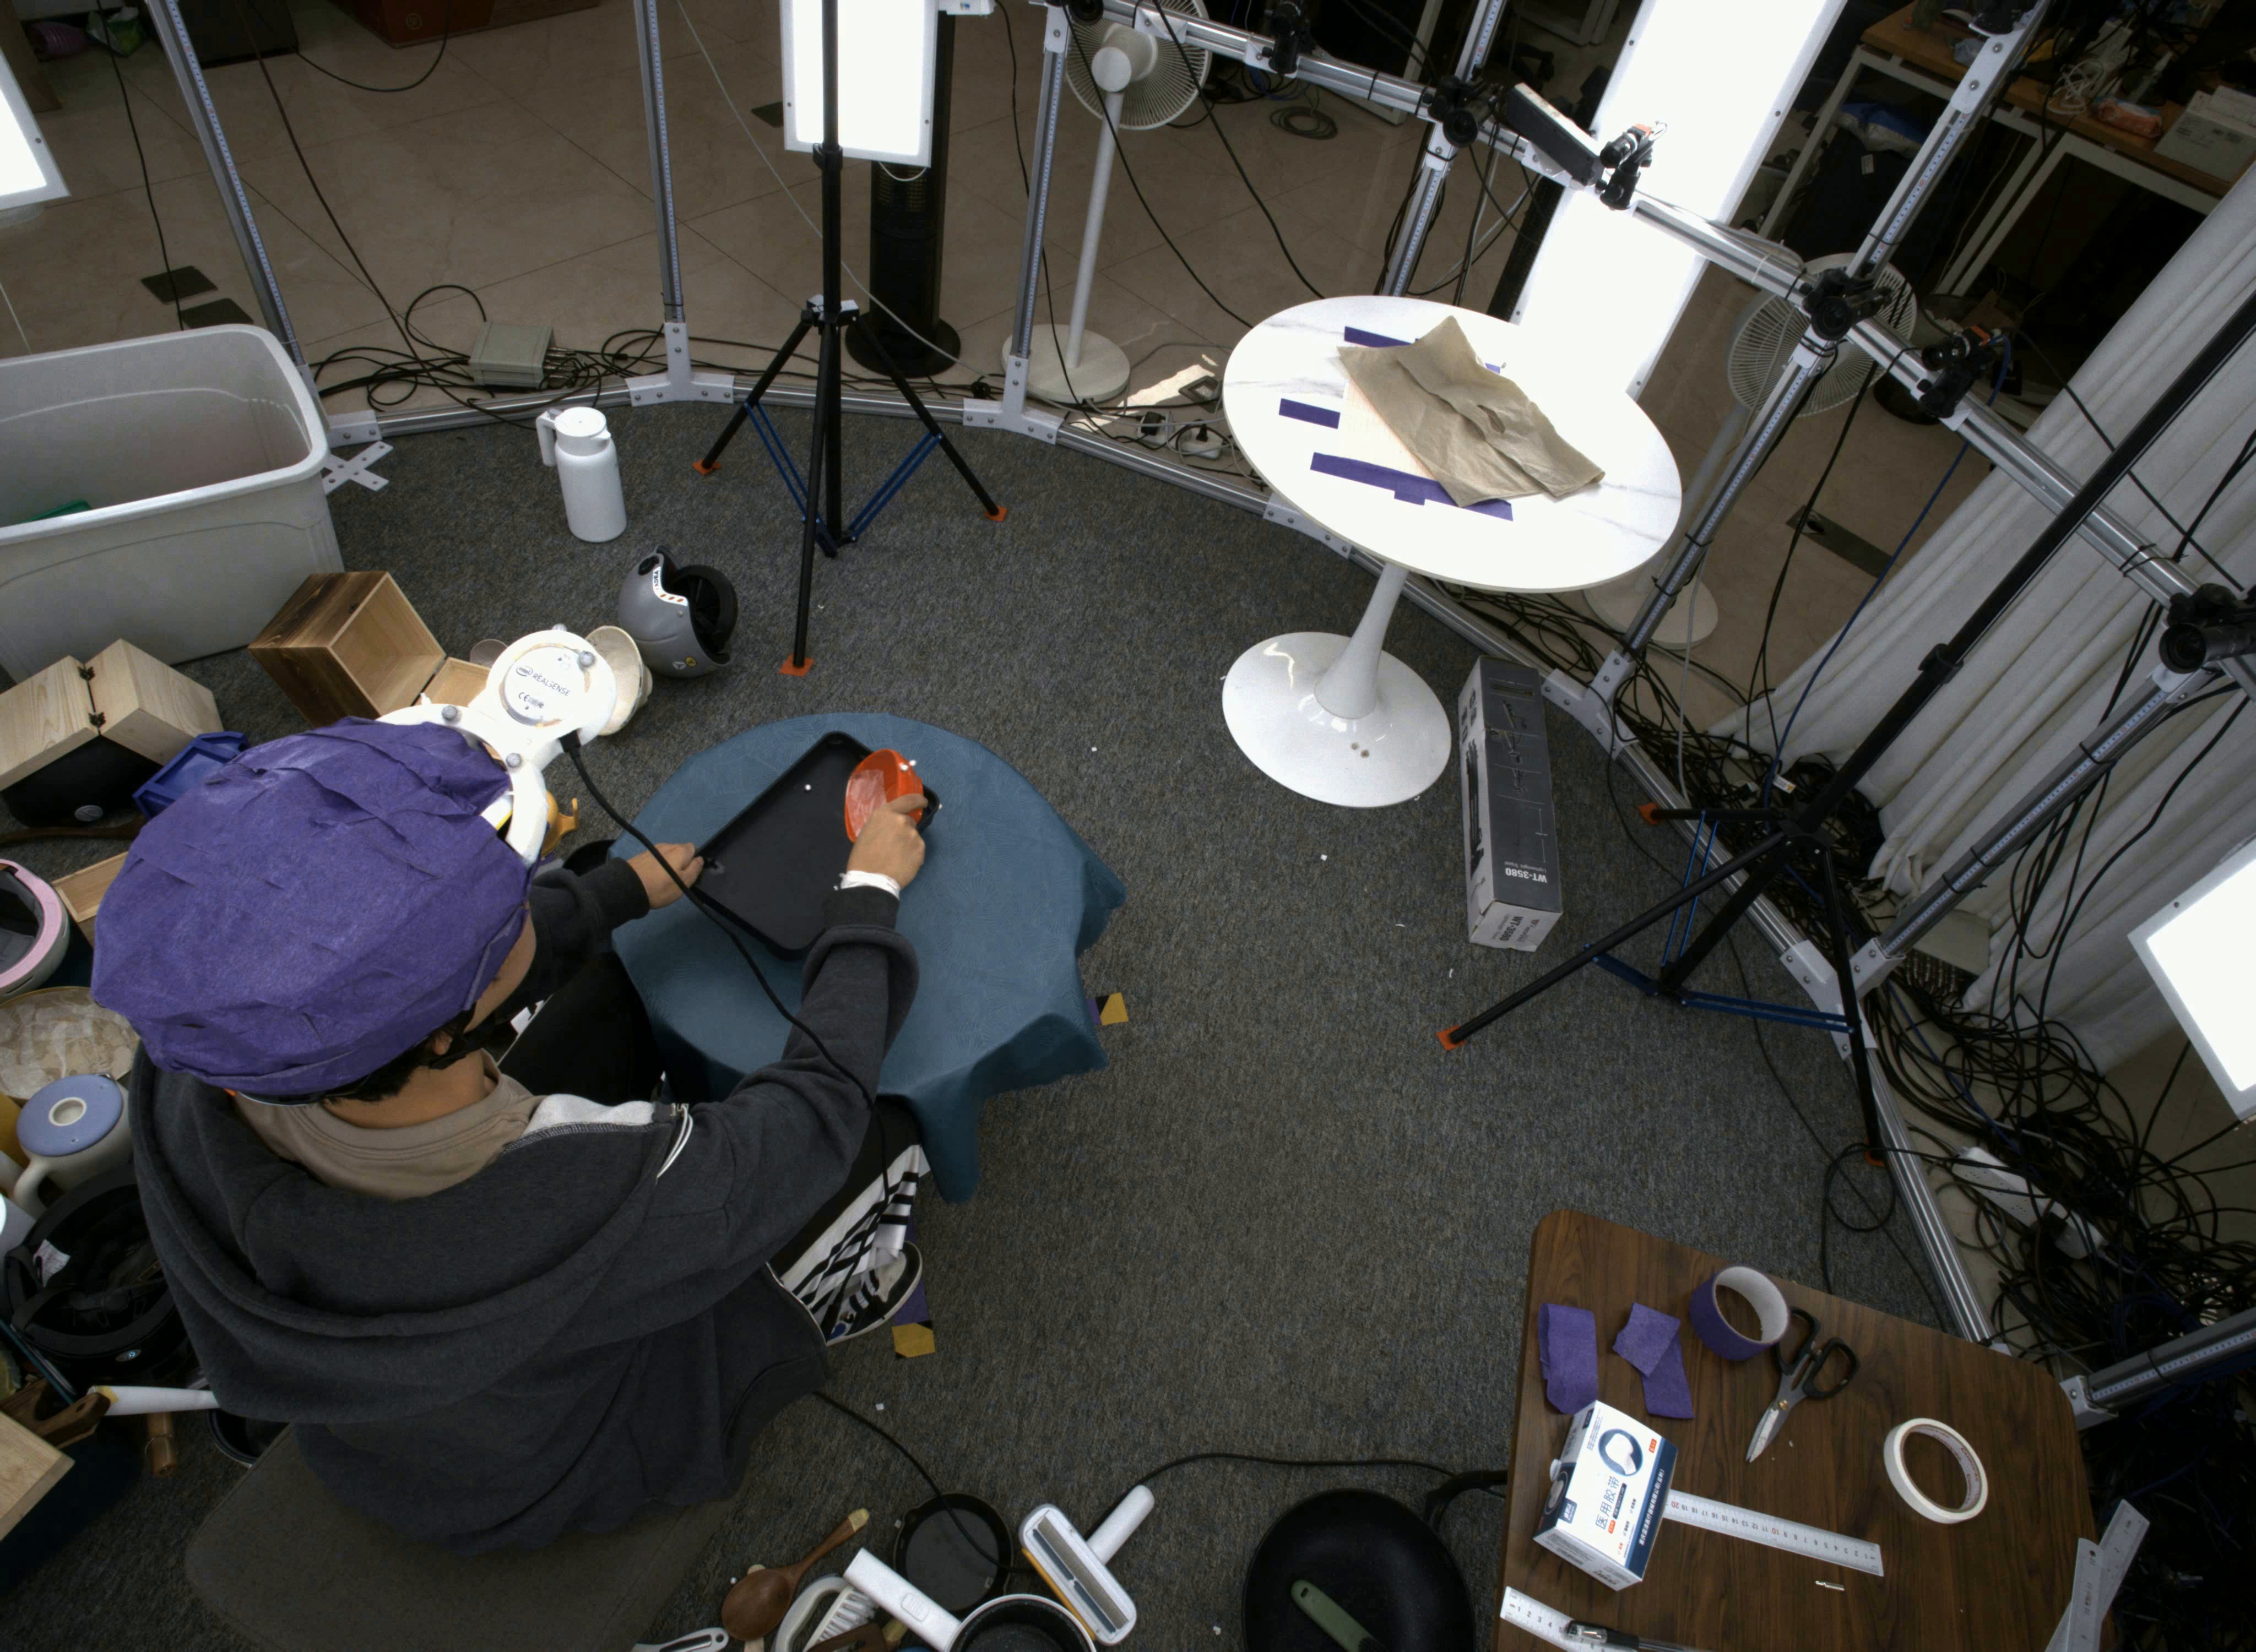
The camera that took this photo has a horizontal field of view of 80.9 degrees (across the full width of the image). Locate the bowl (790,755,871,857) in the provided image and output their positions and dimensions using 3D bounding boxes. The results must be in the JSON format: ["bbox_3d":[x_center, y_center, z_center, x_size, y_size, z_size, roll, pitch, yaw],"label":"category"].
[{"bbox_3d":[-0.337,-0.018,1.493,0.053,0.118,0.116,18,39,-47],"label":"bowl"}]

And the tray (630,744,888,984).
[{"bbox_3d":[-0.452,0.038,1.608,0.183,0.037,0.316,32,48,1],"label":"tray"}]
